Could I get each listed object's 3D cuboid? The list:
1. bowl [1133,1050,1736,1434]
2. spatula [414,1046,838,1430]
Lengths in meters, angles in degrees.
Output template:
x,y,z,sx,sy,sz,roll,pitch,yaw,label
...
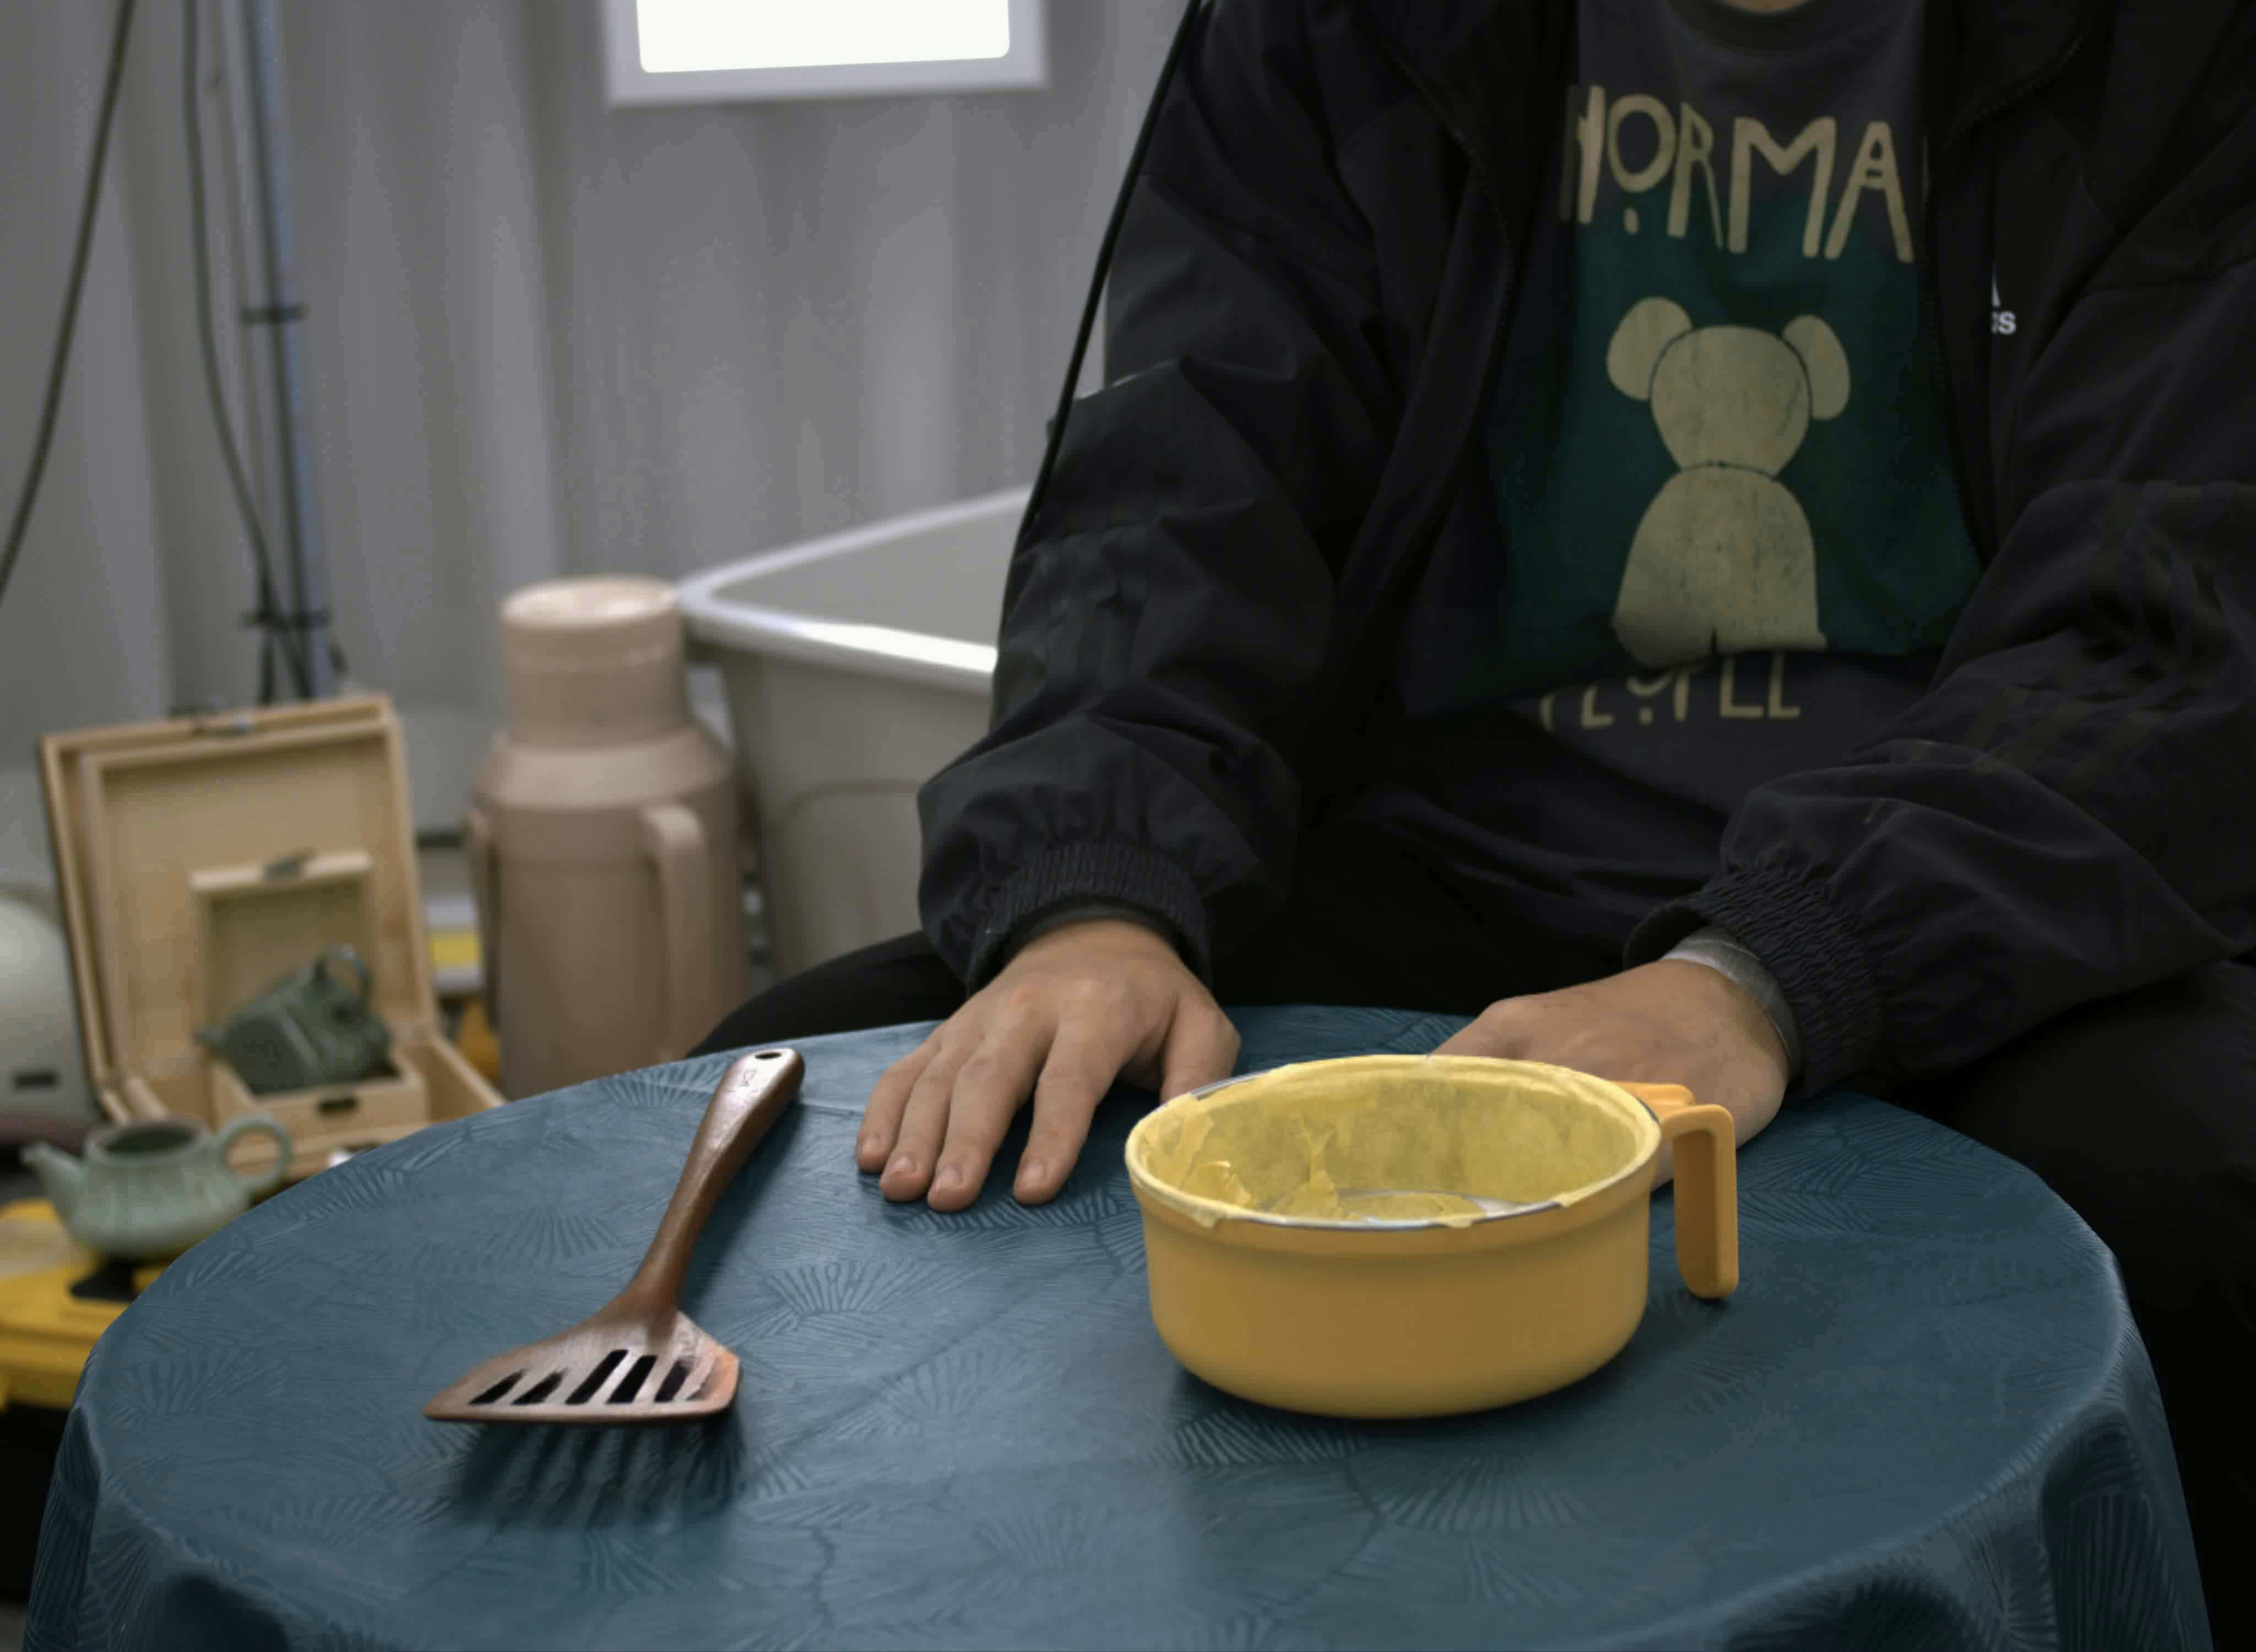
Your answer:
x,y,z,sx,sy,sz,roll,pitch,yaw,label
0.091,0.119,1.558,0.178,0.074,0.154,-10,17,-26,bowl
-0.133,0.125,1.661,0.085,0.024,0.388,0,14,7,spatula
